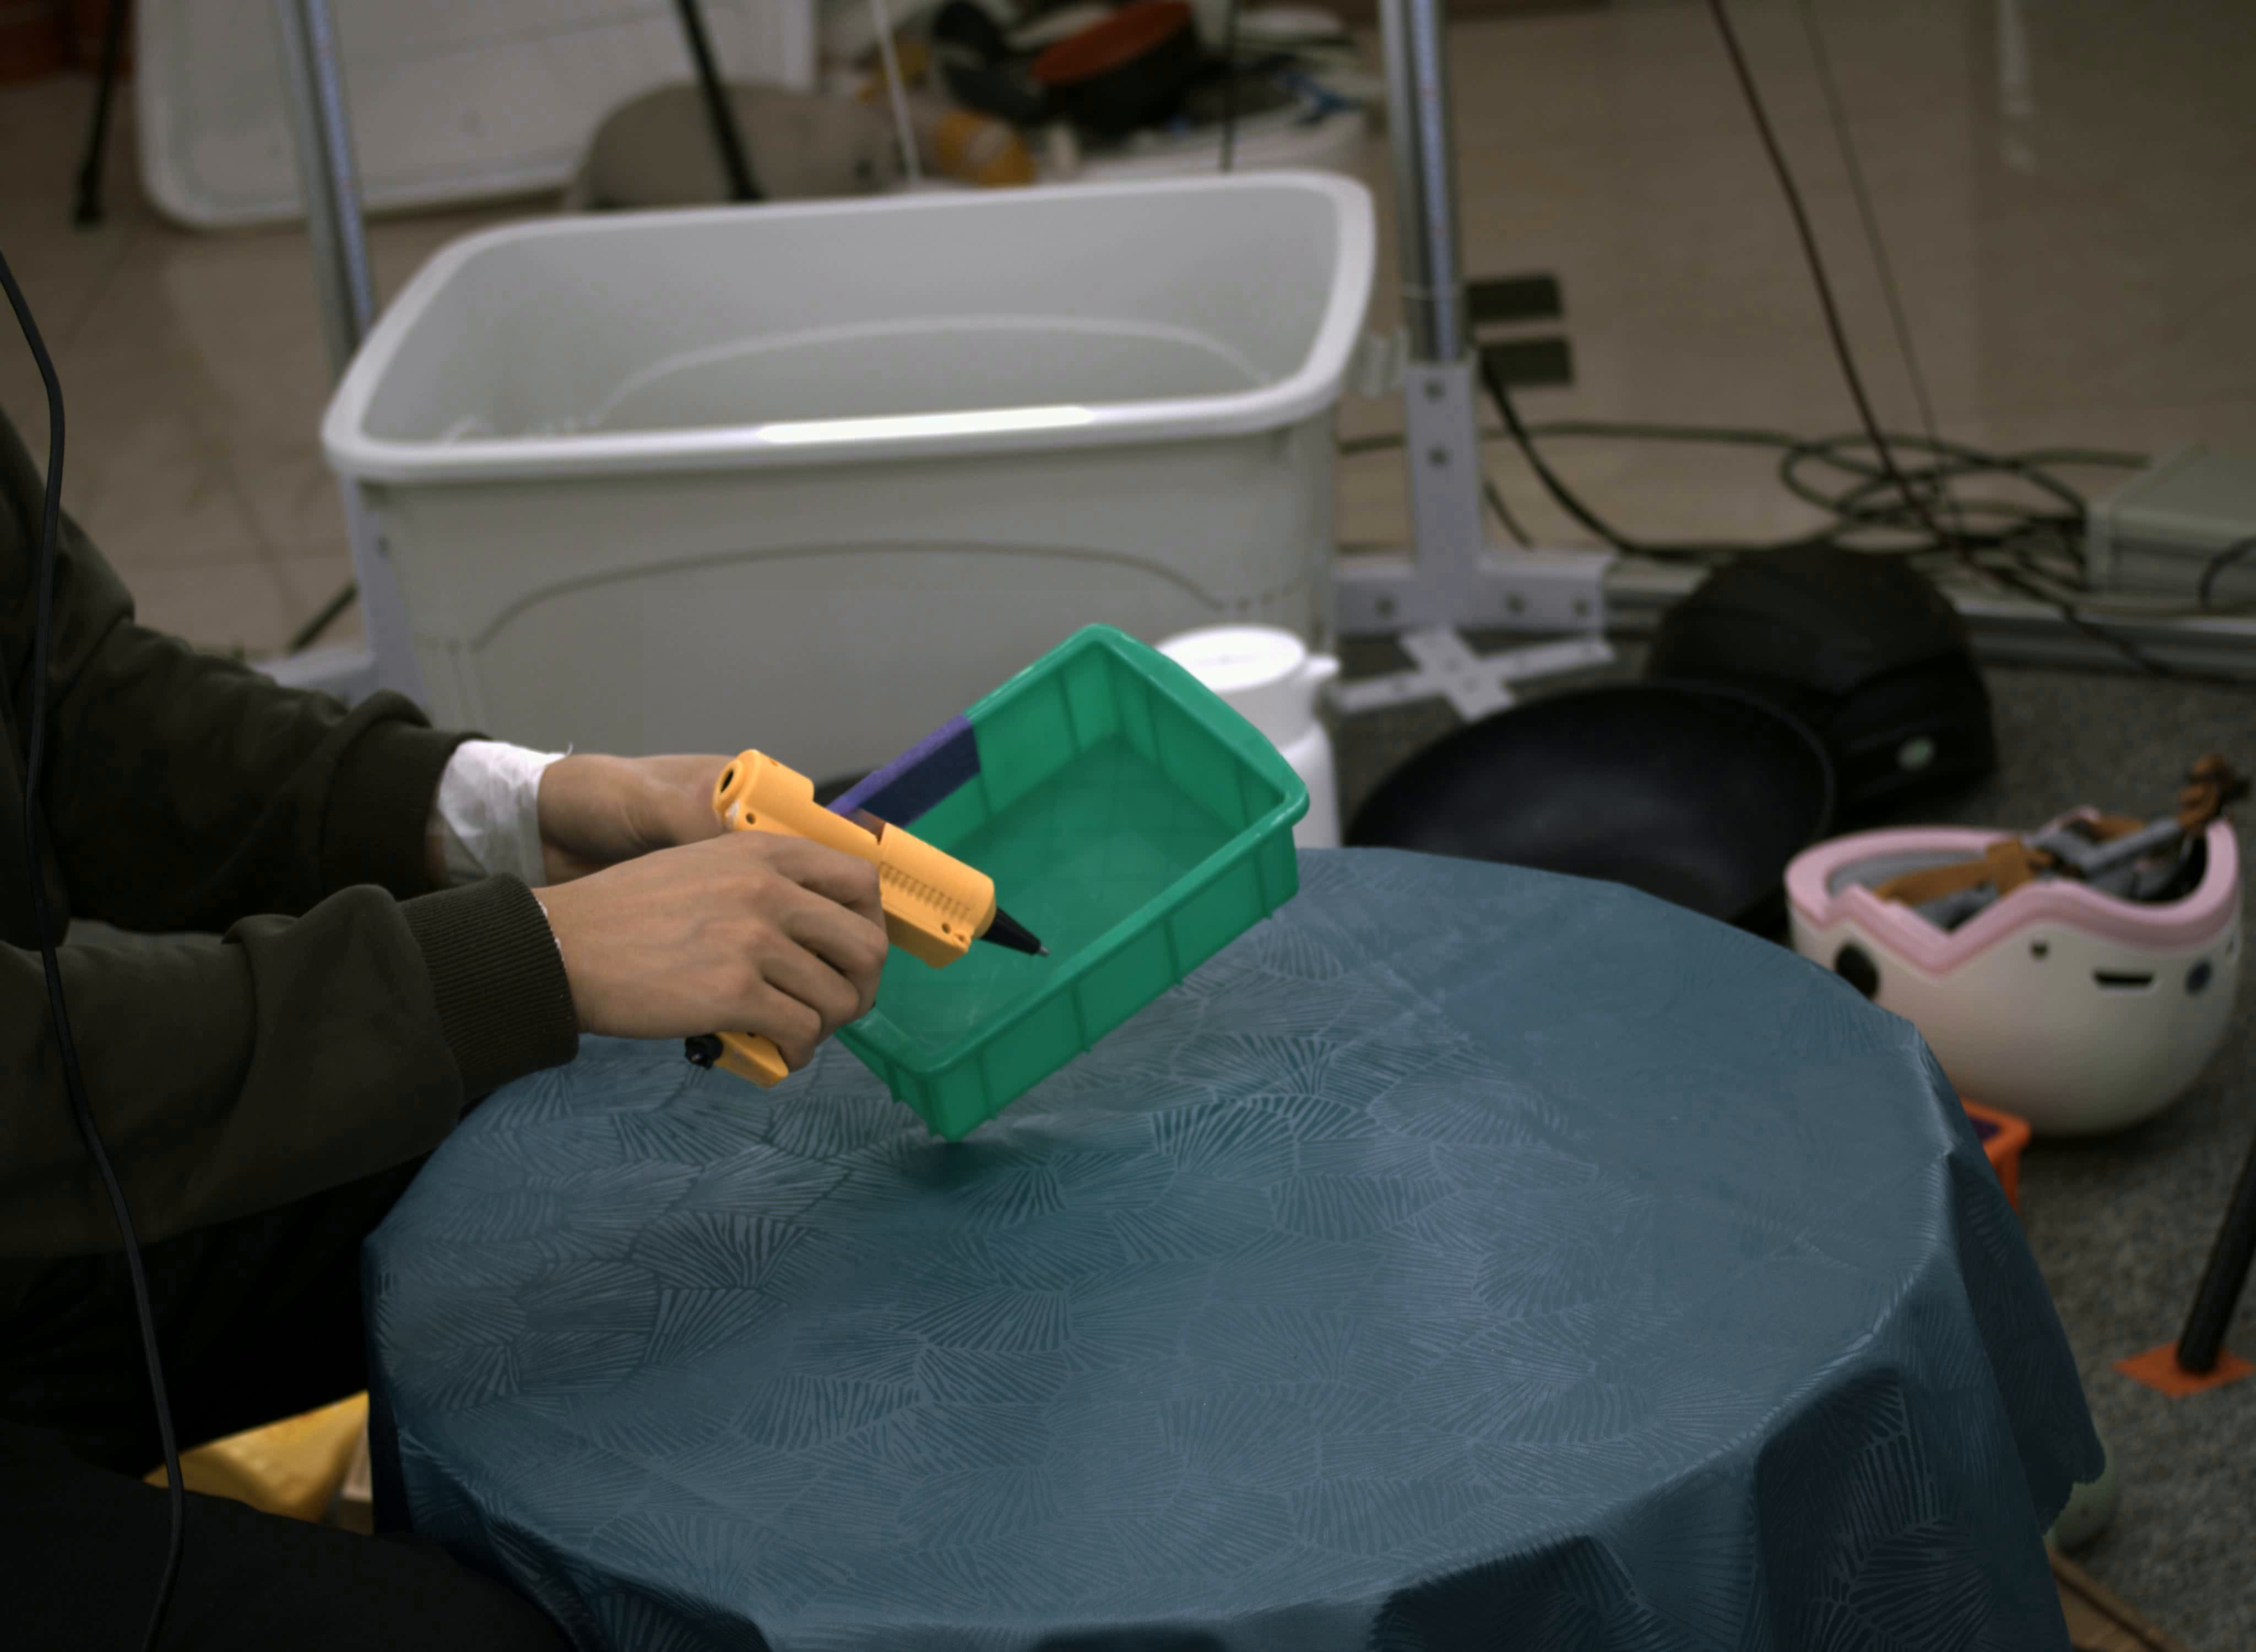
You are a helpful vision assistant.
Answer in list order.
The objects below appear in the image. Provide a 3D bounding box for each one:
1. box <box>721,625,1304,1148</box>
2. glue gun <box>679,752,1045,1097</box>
[{"bbox_3d":[-0.041,0.026,2.234,0.209,0.066,0.137,-38,54,-18],"label":"box"},{"bbox_3d":[-0.096,0.055,2.114,0.031,0.152,0.131,-31,44,46],"label":"glue gun"}]
